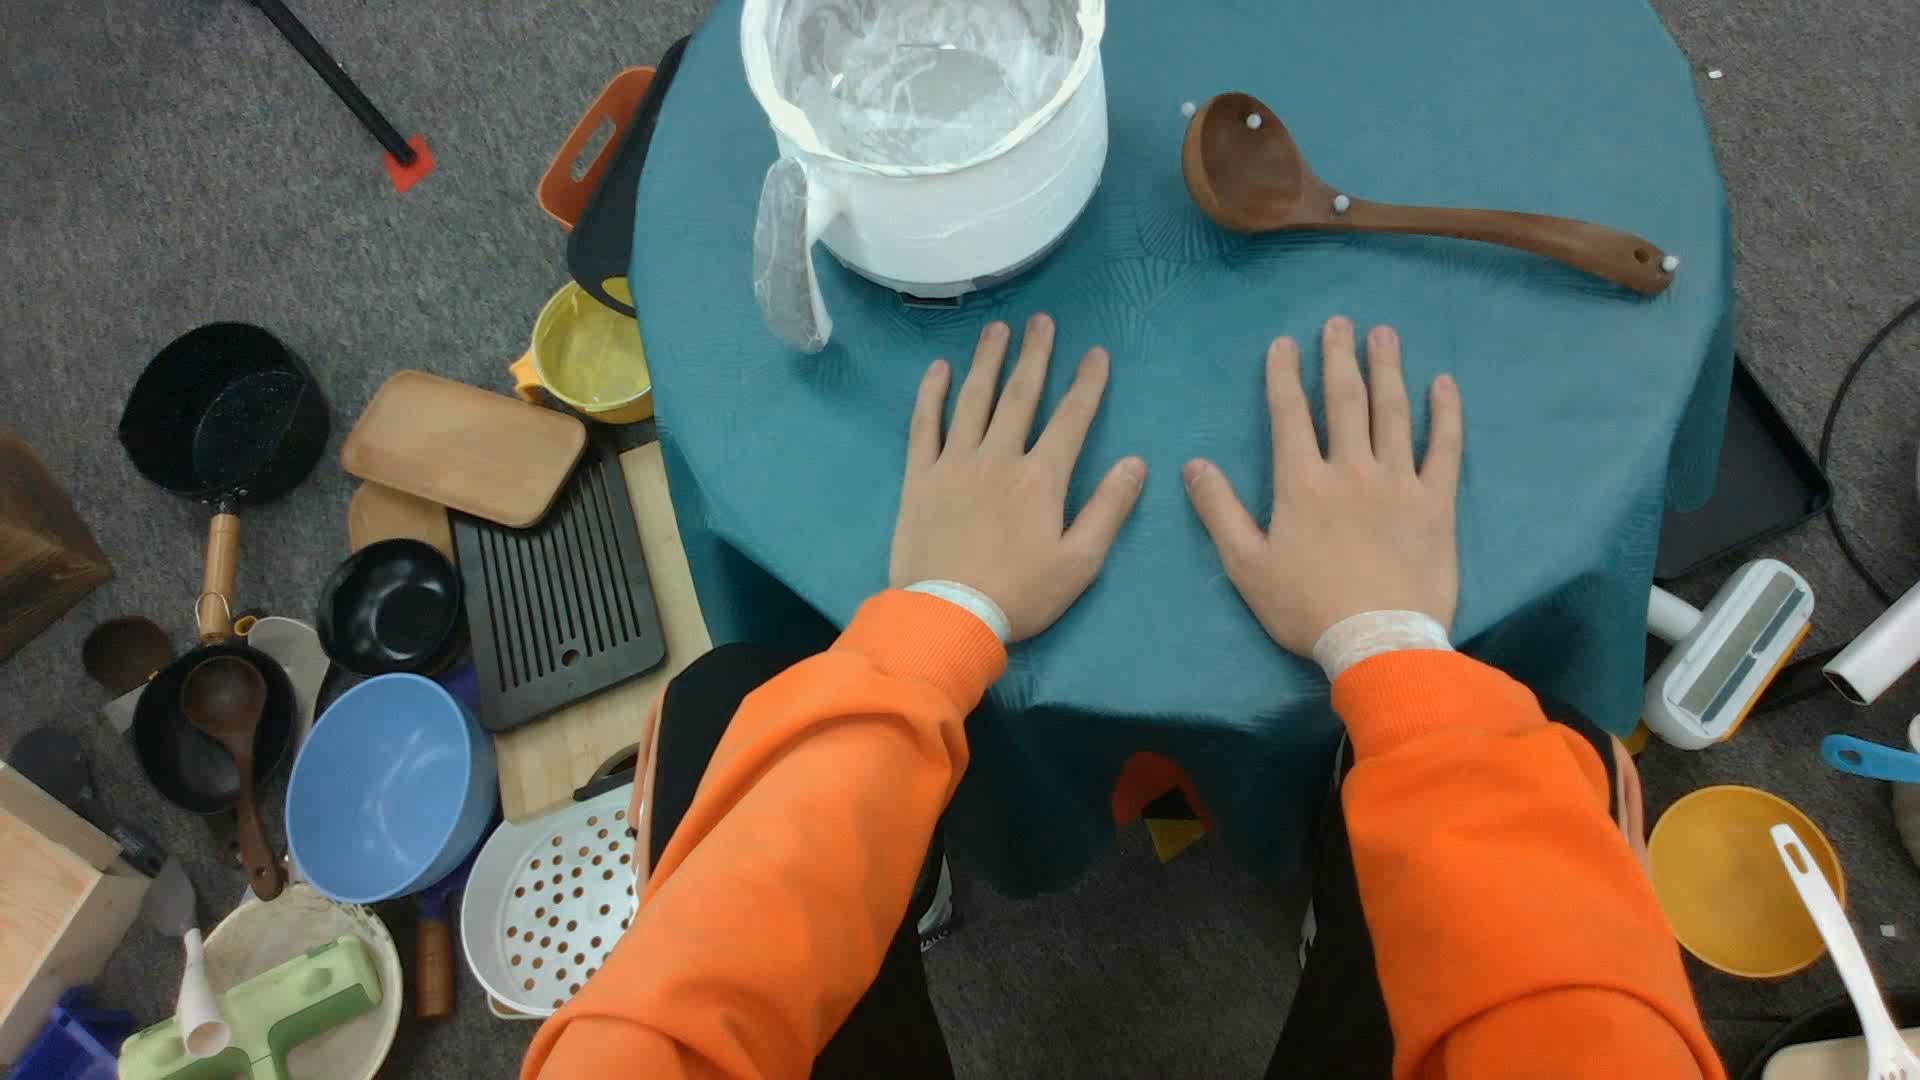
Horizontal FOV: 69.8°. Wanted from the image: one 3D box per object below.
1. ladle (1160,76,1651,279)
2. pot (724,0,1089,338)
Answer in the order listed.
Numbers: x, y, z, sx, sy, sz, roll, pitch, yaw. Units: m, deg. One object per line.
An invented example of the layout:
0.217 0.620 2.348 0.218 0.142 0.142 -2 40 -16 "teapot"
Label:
0.232 -0.183 0.716 0.260 0.065 0.077 15 75 11 "ladle"
-0.037 -0.216 0.718 0.179 0.136 0.234 32 77 16 "pot"
